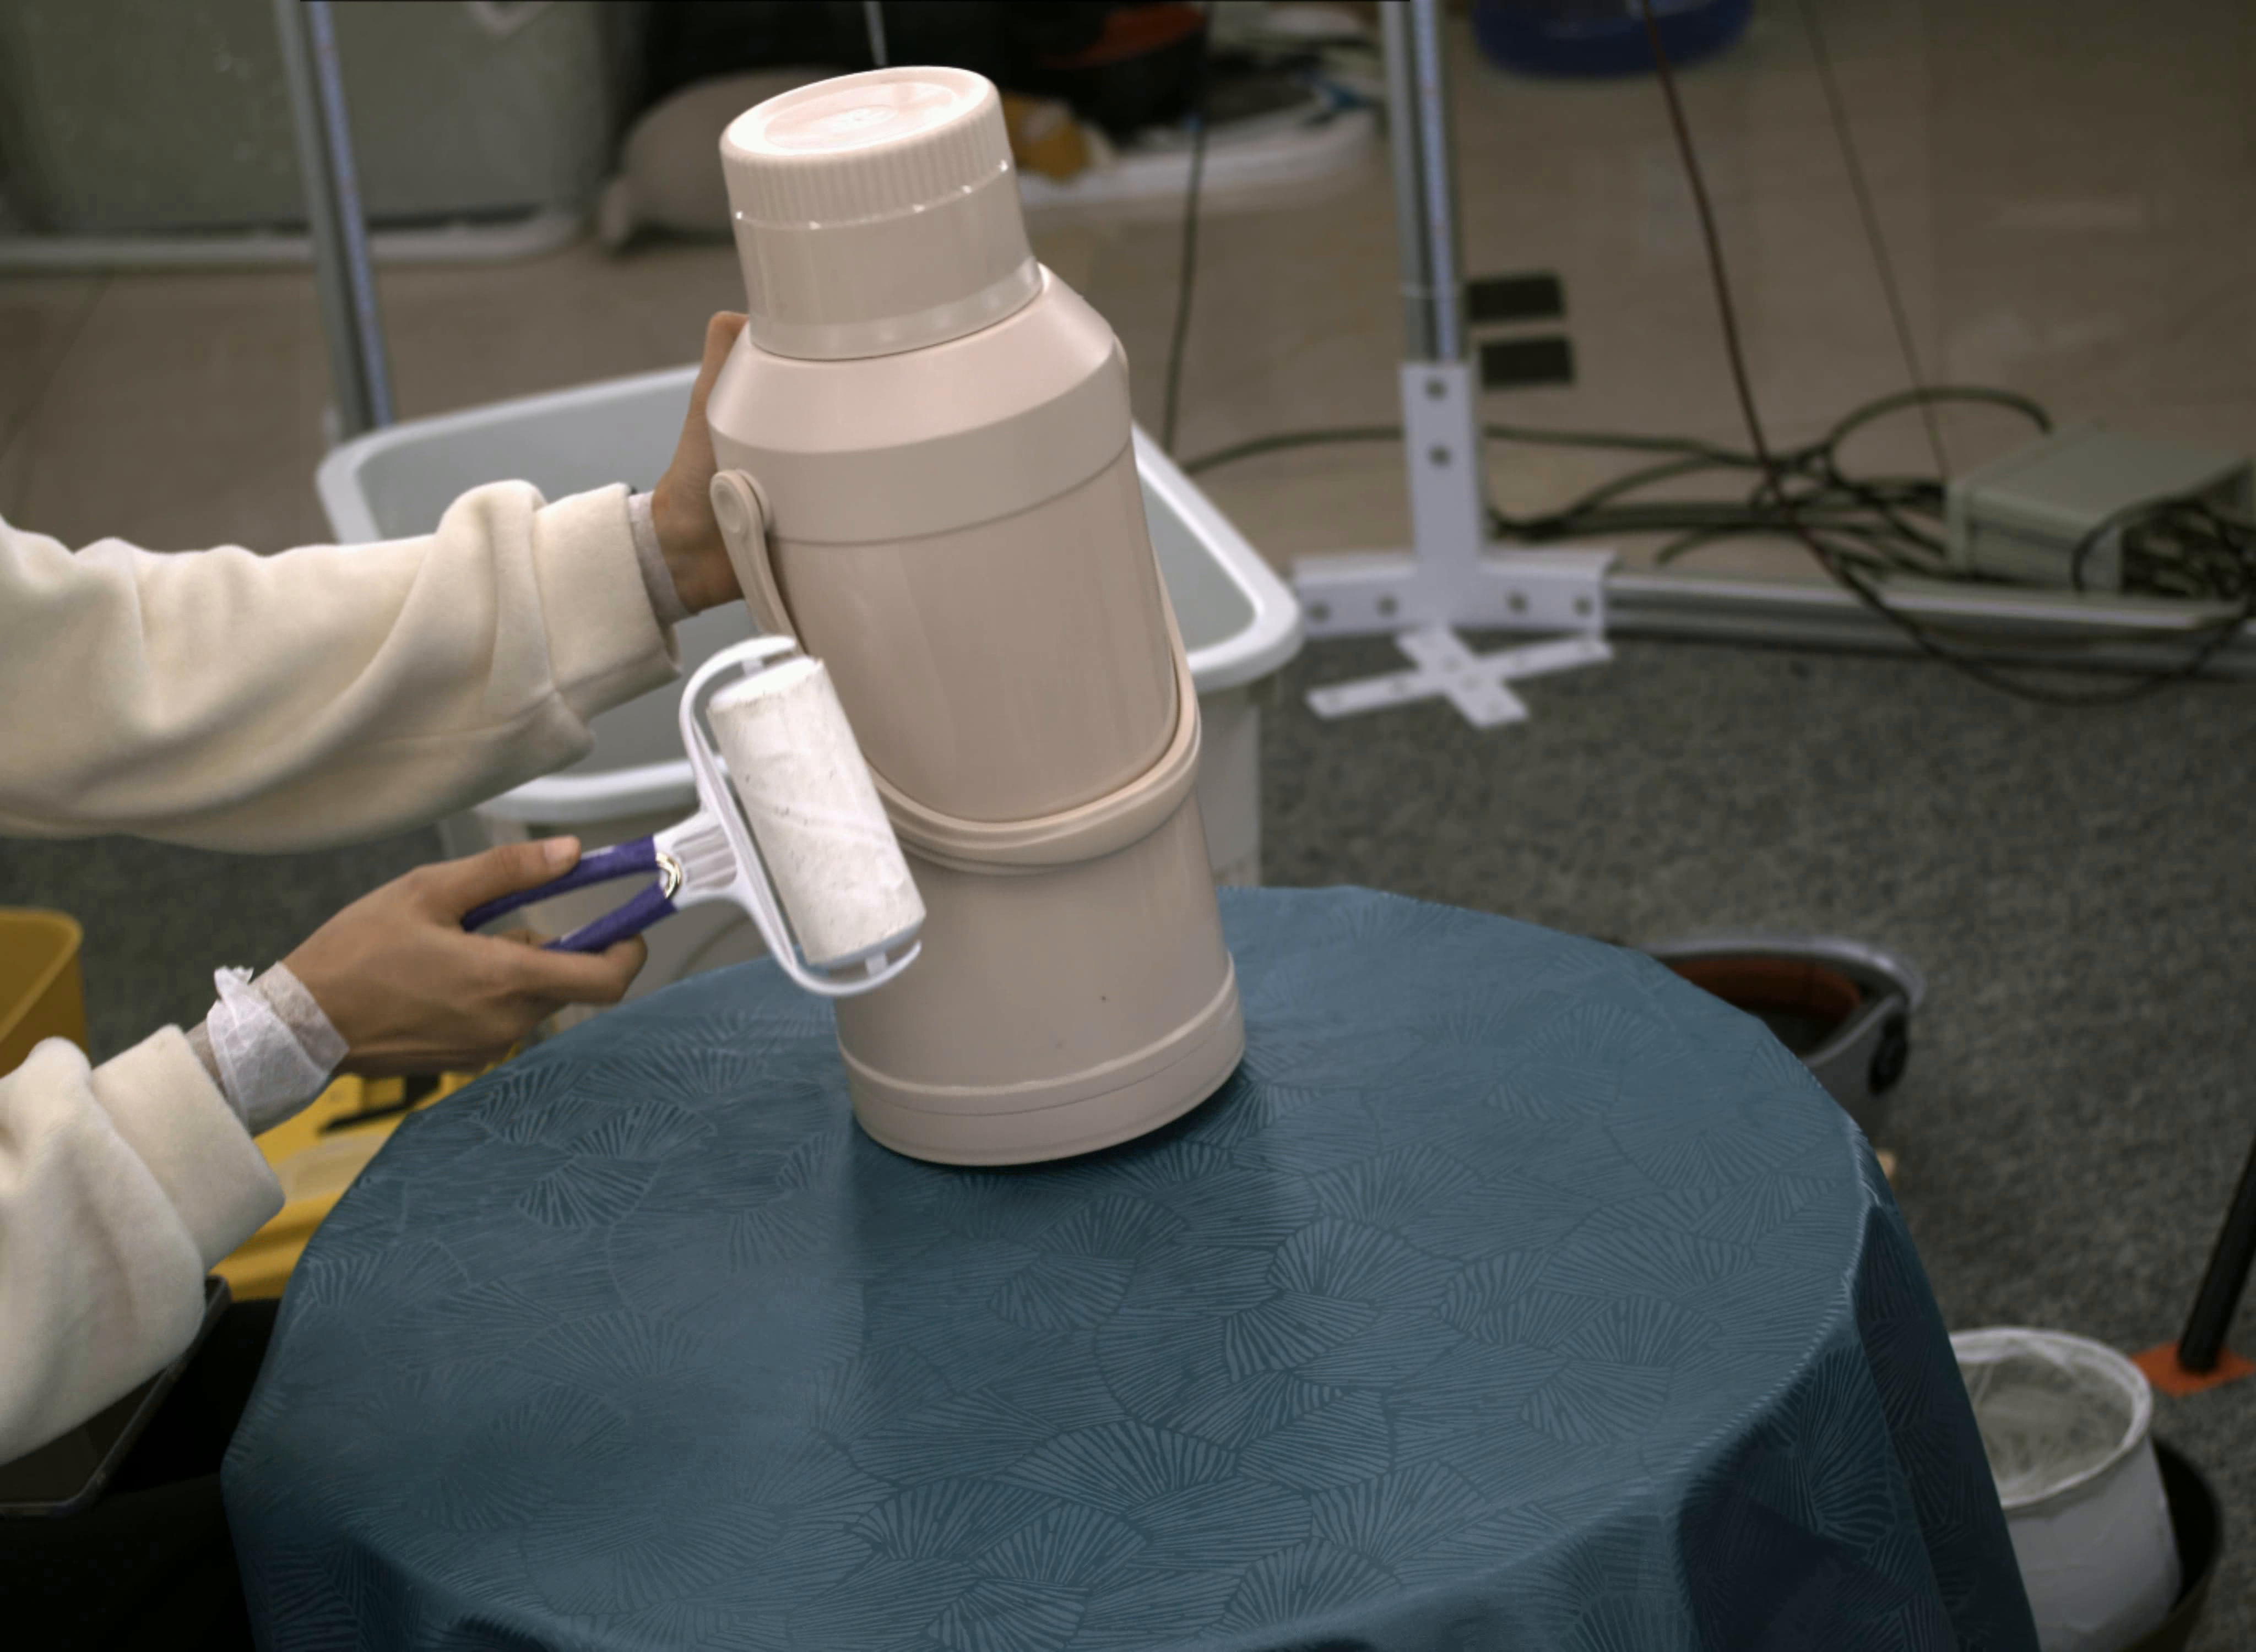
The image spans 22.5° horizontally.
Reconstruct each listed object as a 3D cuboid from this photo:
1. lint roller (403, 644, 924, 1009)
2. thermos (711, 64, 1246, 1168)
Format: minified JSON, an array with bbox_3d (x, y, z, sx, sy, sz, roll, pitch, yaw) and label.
[{"bbox_3d":[-0.173,0.021,2.014,0.180,0.134,0.050,-21,9,-8],"label":"lint roller"},{"bbox_3d":[-0.070,-0.085,2.159,0.174,0.413,0.205,-26,29,-29],"label":"thermos"}]
